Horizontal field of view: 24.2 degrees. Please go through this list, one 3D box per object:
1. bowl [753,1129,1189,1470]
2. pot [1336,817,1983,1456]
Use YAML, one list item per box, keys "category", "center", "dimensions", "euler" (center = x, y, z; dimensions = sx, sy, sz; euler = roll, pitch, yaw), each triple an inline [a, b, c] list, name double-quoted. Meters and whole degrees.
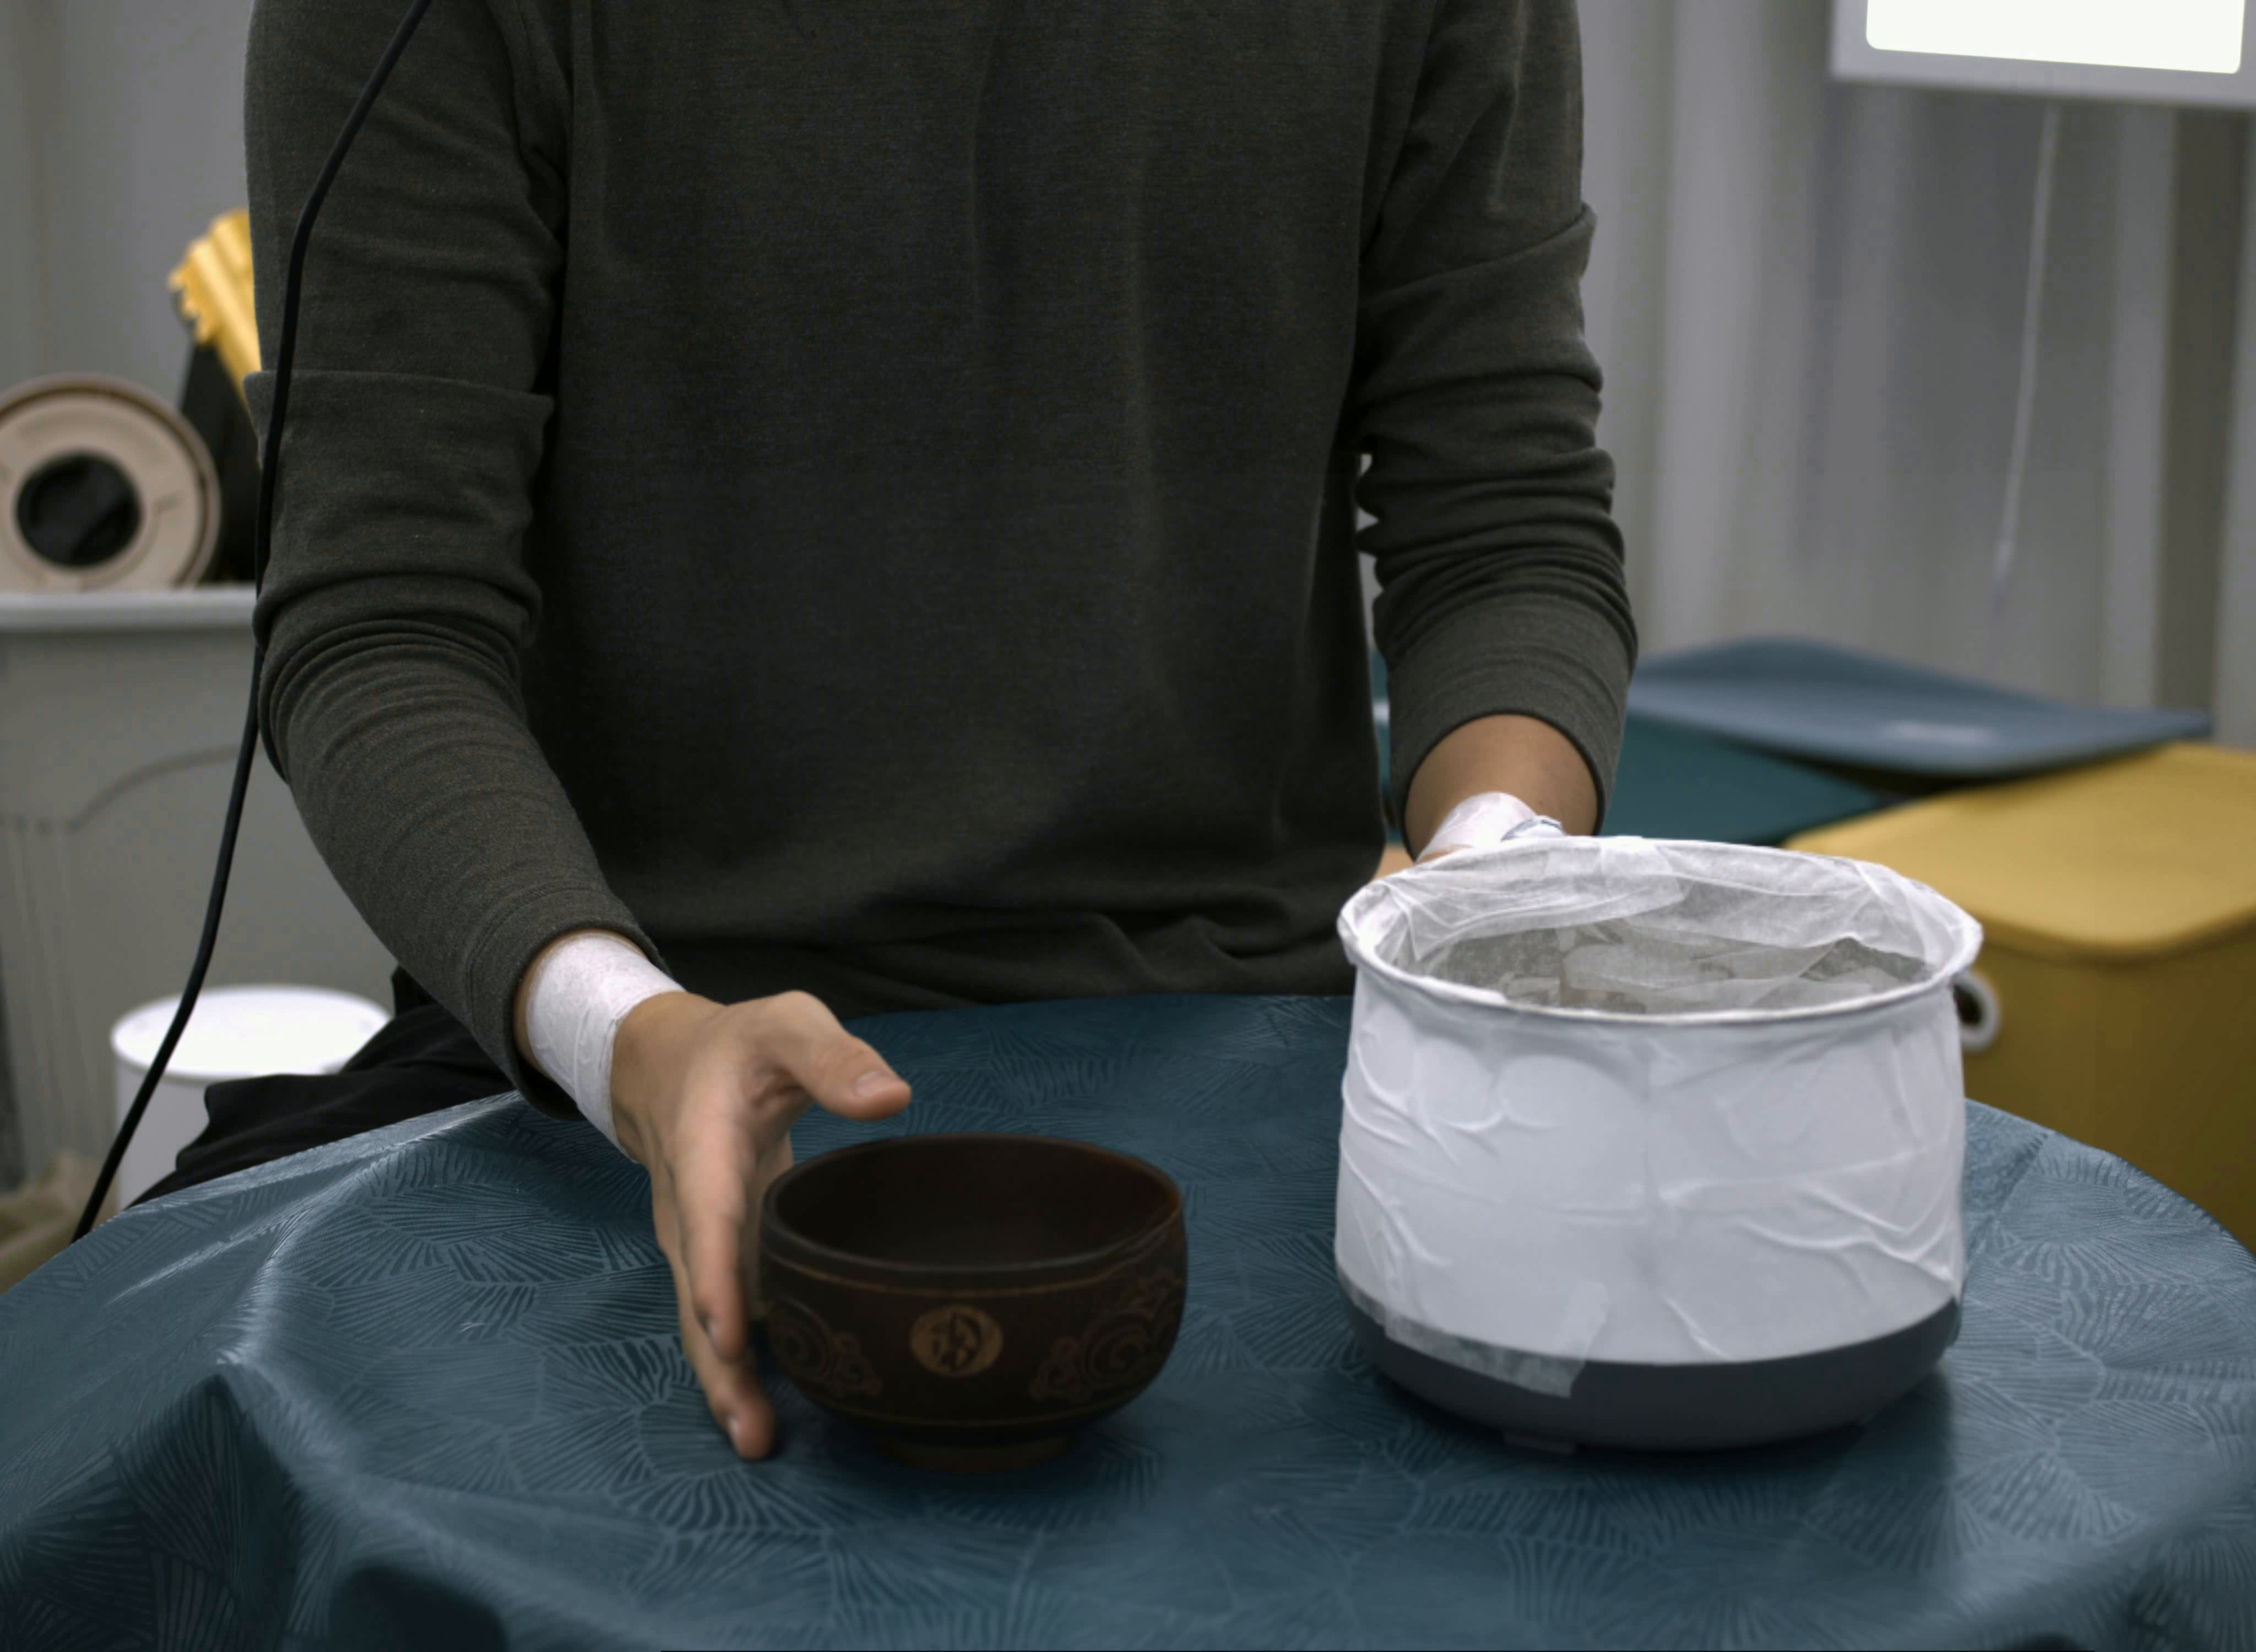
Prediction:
- category: "bowl"
  center: [-0.042, 0.131, 1.419]
  dimensions: [0.117, 0.070, 0.117]
  euler: [-1, 14, 1]
- category: "pot"
  center: [0.138, 0.081, 1.487]
  dimensions: [0.179, 0.138, 0.231]
  euler: [-4, 16, -16]
